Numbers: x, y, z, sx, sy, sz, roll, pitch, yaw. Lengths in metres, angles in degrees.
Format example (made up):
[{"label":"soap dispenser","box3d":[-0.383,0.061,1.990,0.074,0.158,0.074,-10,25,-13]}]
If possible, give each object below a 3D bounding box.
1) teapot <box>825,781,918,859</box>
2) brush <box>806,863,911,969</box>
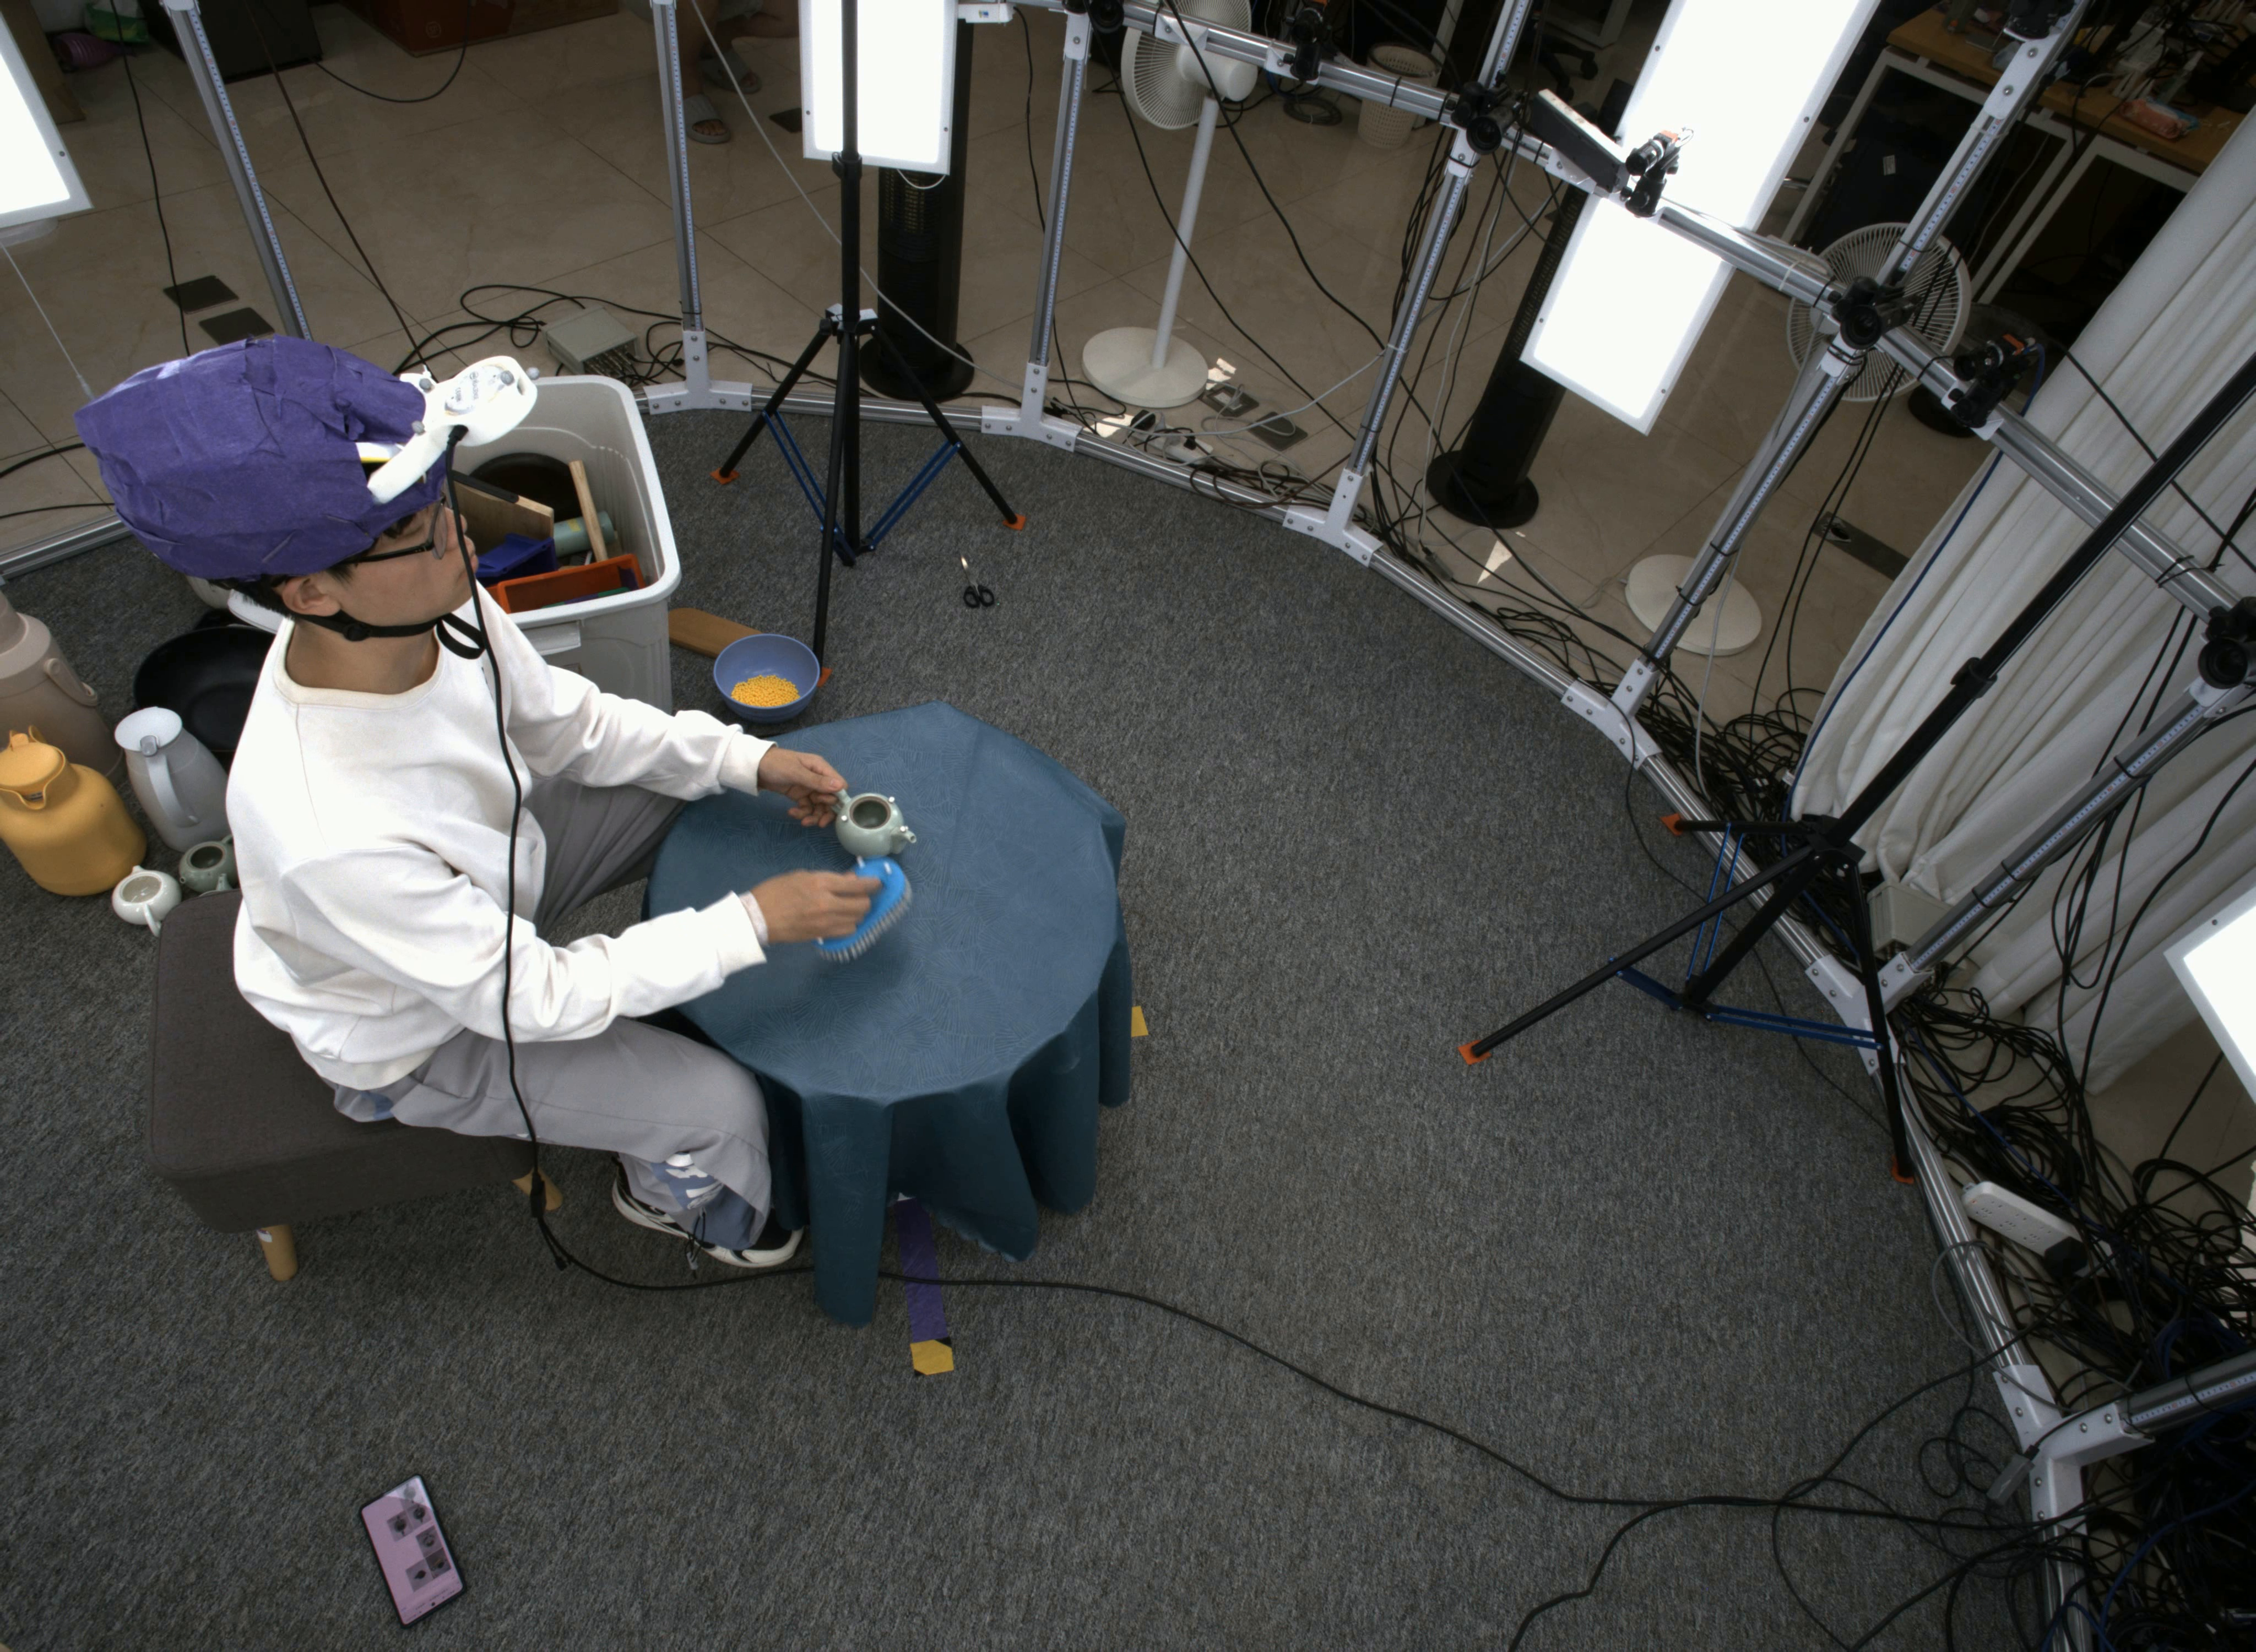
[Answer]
[{"label":"teapot","box3d":[-0.336,-0.002,1.701,0.142,0.076,0.088,34,57,6]},{"label":"brush","box3d":[-0.324,0.102,1.564,0.082,0.065,0.142,38,71,19]}]
